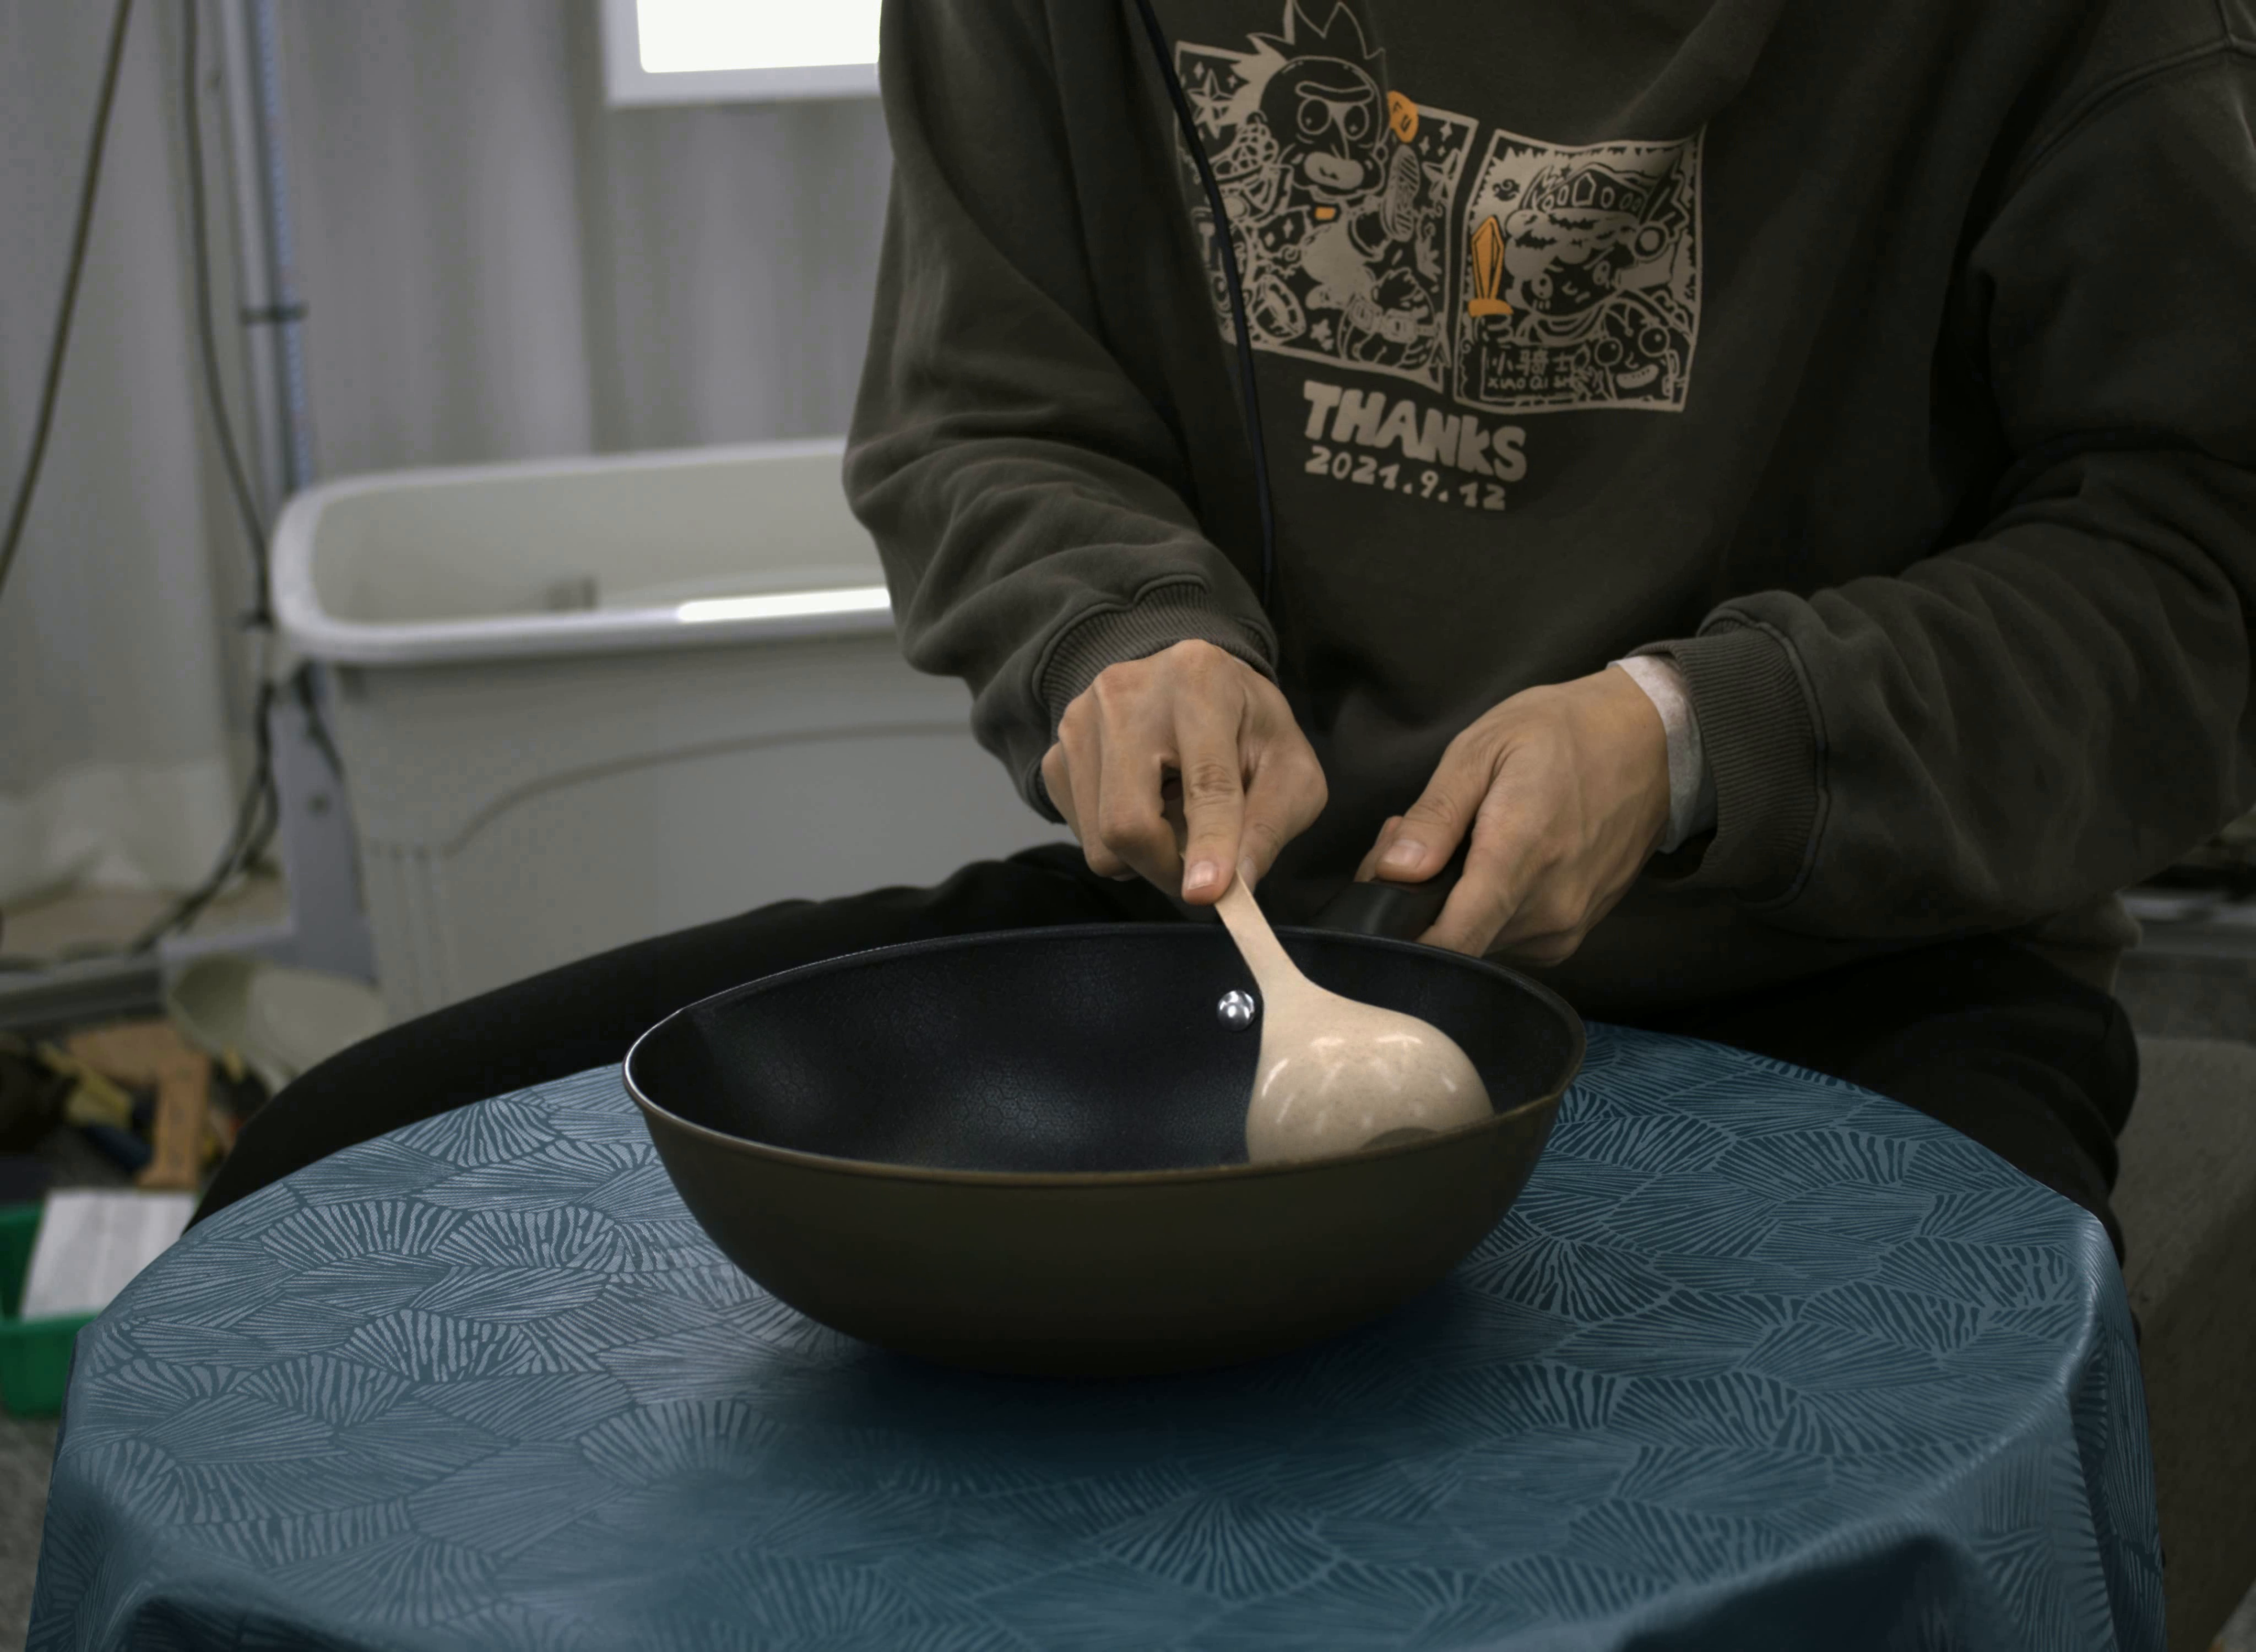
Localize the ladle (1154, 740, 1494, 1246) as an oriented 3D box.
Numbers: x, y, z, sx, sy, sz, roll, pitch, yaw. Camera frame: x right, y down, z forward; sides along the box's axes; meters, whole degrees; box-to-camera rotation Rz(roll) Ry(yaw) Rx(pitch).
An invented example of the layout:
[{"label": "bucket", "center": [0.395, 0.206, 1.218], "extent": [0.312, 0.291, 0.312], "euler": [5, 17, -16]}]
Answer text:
[{"label": "ladle", "center": [0.054, 0.052, 1.695], "extent": [0.072, 0.072, 0.257], "euler": [-32, 25, 4]}]

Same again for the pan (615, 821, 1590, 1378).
[{"label": "pan", "center": [0.034, 0.081, 1.687], "extent": [0.289, 0.086, 0.463], "euler": [5, 14, 27]}]
